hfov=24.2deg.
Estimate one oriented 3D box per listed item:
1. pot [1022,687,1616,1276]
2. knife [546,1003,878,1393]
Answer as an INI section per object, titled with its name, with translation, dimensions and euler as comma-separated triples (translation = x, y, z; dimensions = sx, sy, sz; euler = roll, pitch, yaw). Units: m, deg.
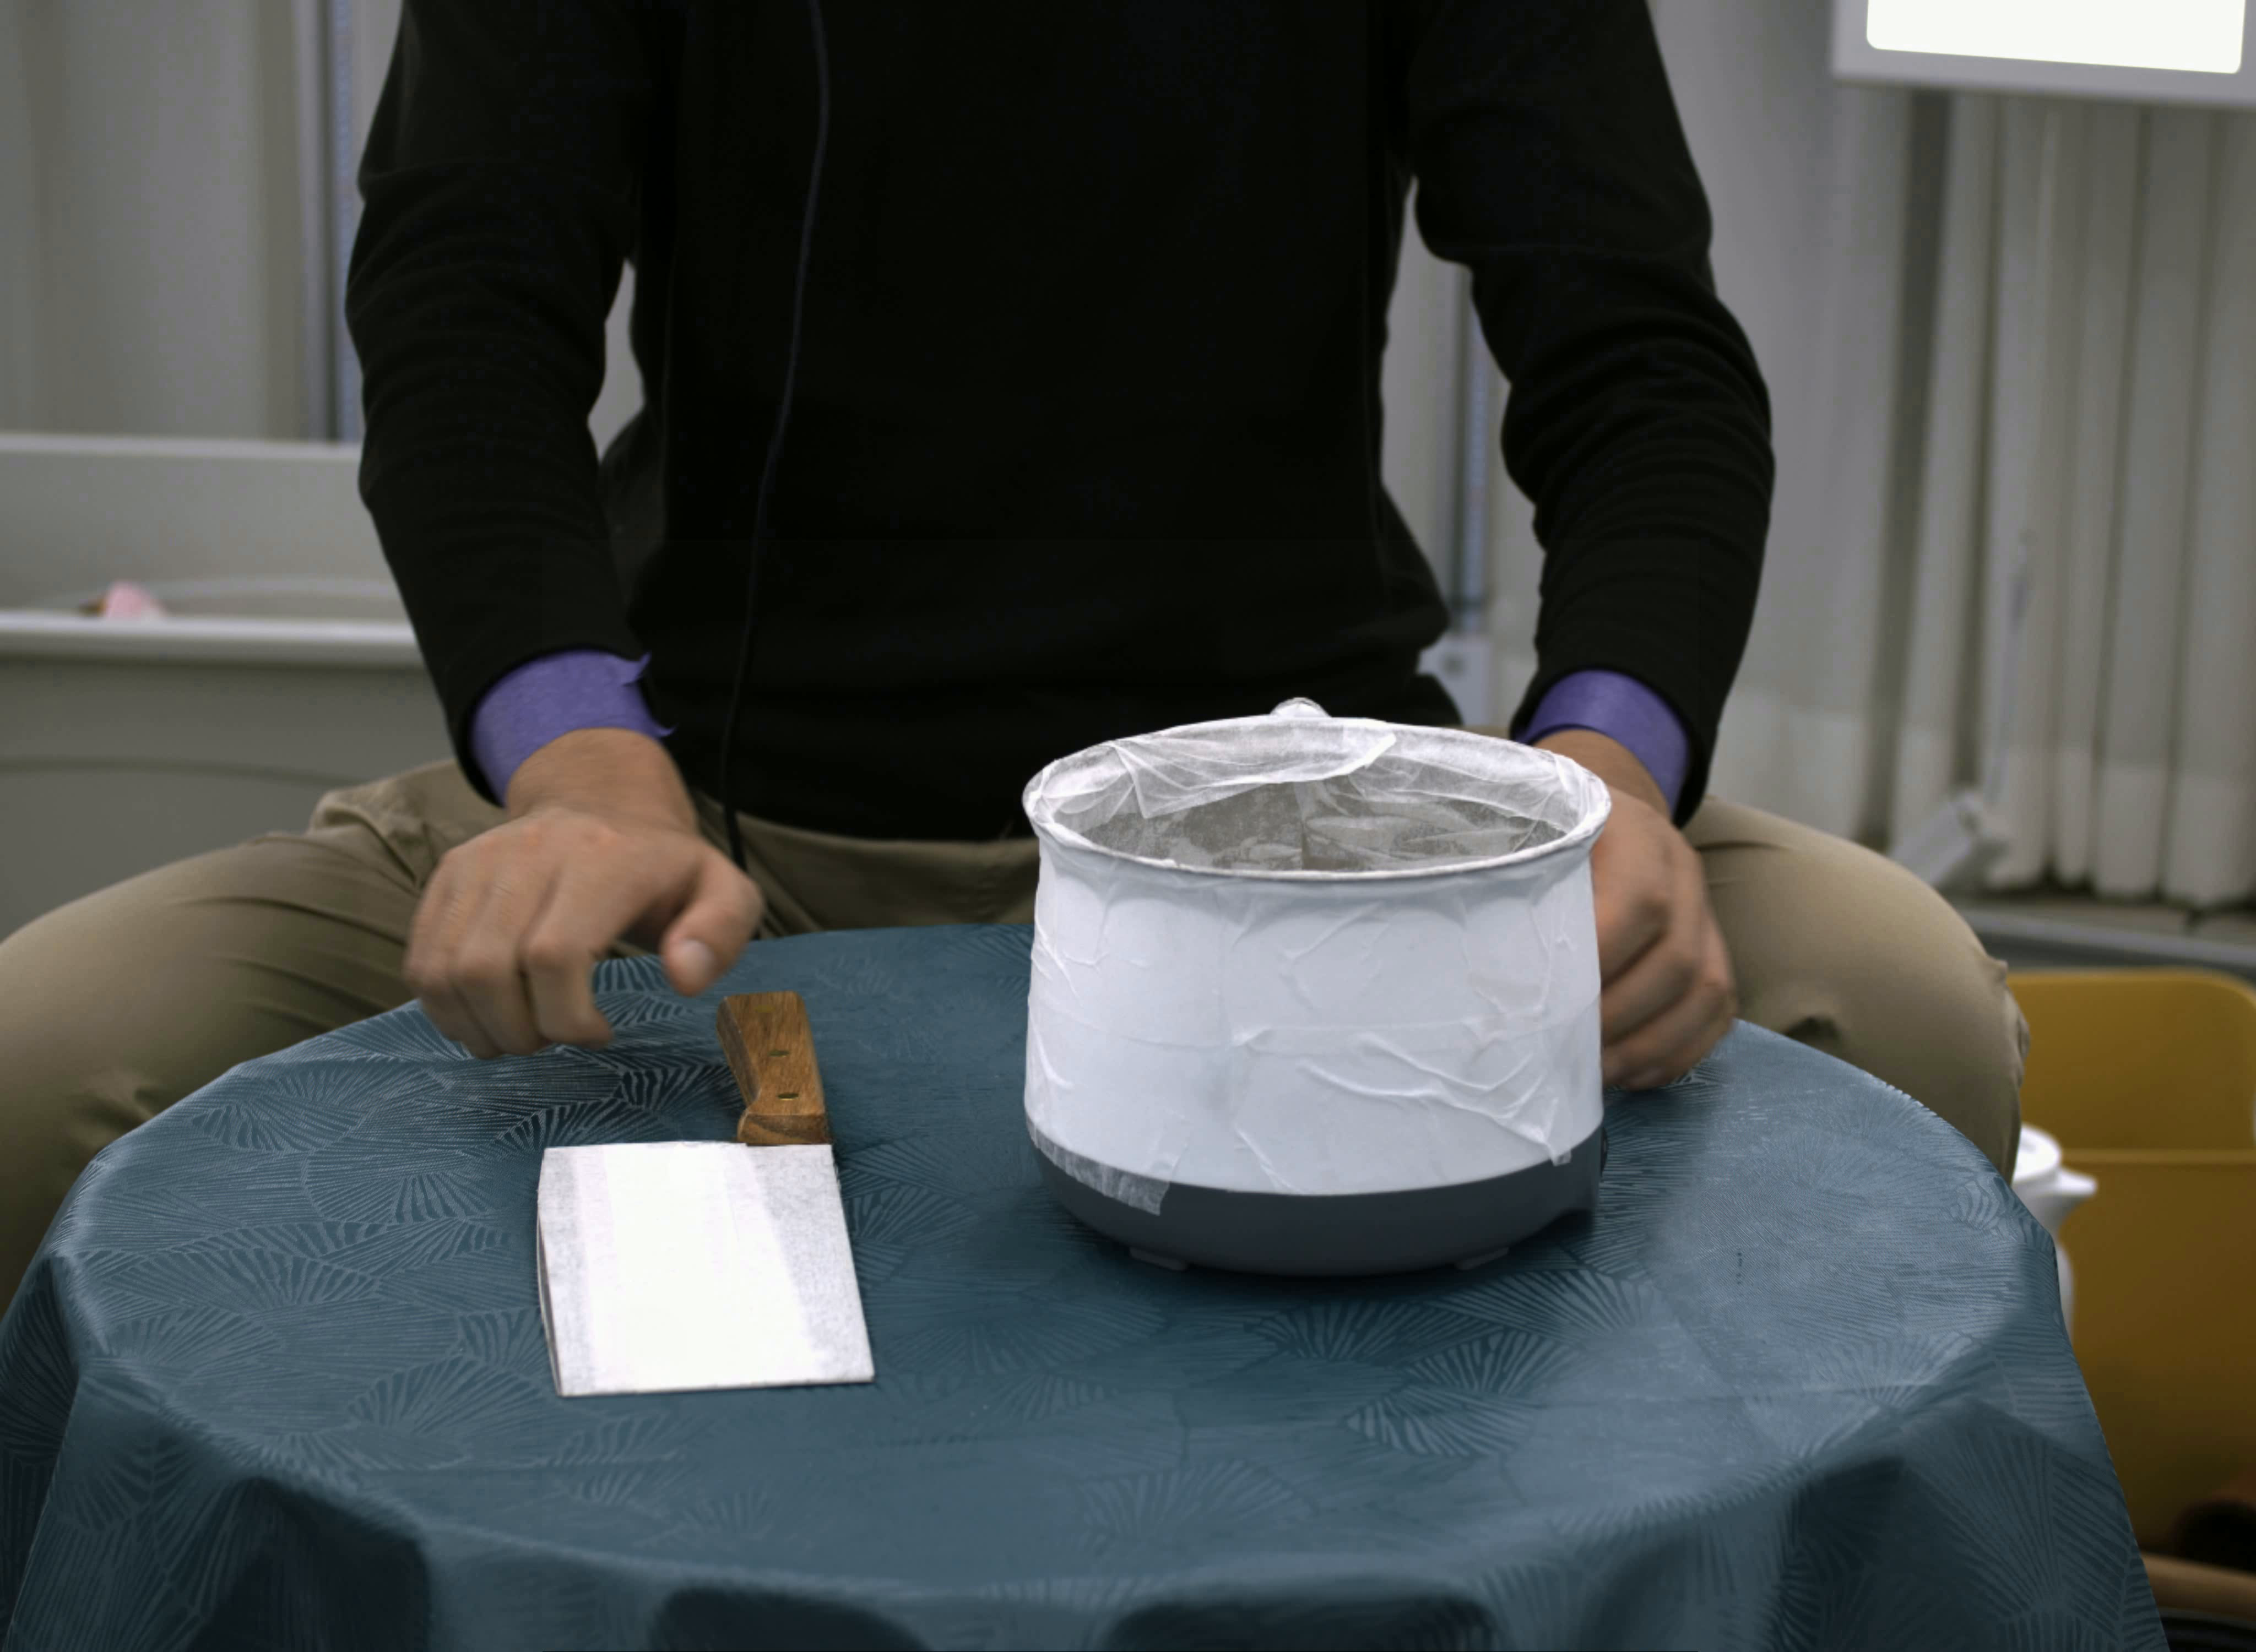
[pot]
translation = 0.055, 0.042, 1.614
dimensions = 0.178, 0.138, 0.232
euler = 0, 17, -3
[knife]
translation = -0.130, 0.111, 1.600
dimensions = 0.093, 0.021, 0.303
euler = 0, 17, -7
